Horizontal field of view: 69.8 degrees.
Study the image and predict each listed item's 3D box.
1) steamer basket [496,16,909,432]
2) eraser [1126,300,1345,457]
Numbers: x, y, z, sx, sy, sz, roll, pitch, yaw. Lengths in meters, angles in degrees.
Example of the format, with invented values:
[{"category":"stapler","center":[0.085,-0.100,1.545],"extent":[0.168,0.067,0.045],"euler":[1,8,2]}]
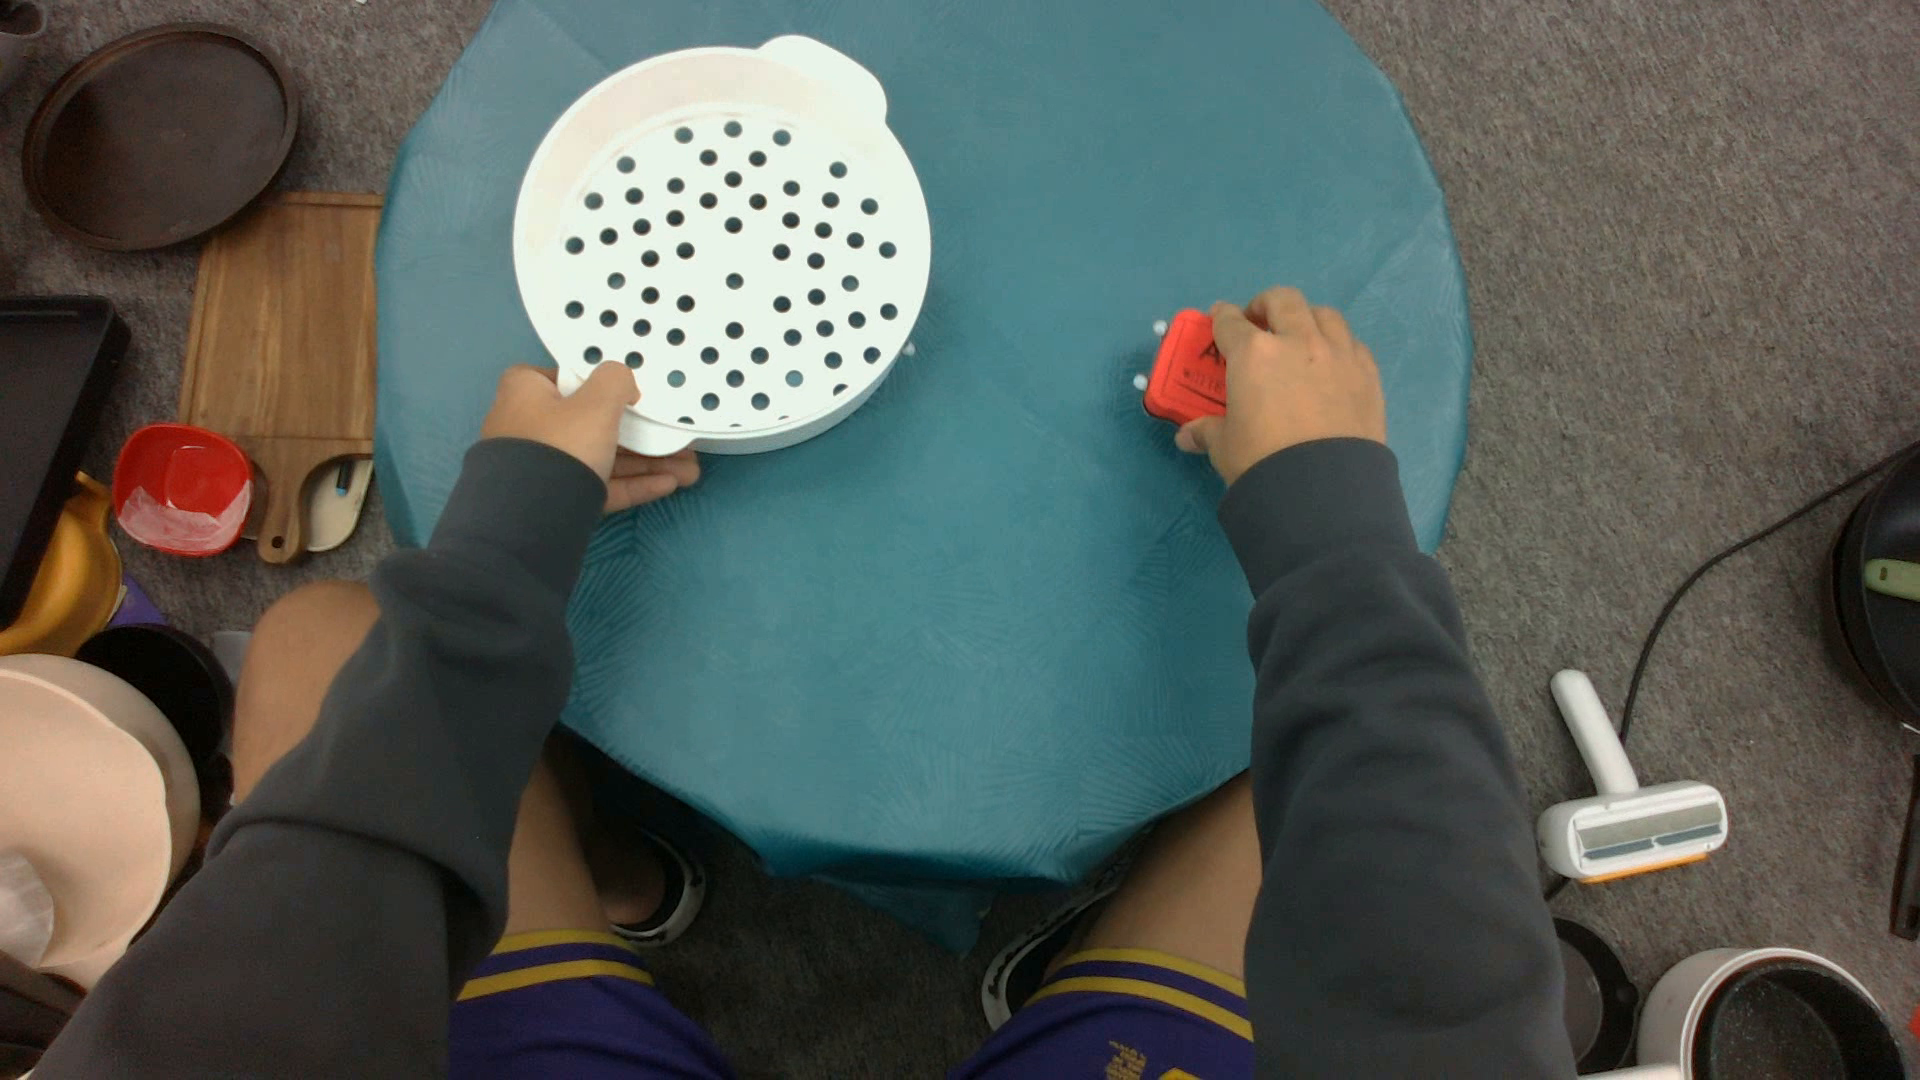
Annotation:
[{"category":"steamer basket","center":[-0.129,-0.155,0.709],"extent":[0.202,0.069,0.231],"euler":[27,77,-3]},{"category":"eraser","center":[0.146,-0.085,0.731],"extent":[0.108,0.023,0.059],"euler":[17,85,-5]}]
